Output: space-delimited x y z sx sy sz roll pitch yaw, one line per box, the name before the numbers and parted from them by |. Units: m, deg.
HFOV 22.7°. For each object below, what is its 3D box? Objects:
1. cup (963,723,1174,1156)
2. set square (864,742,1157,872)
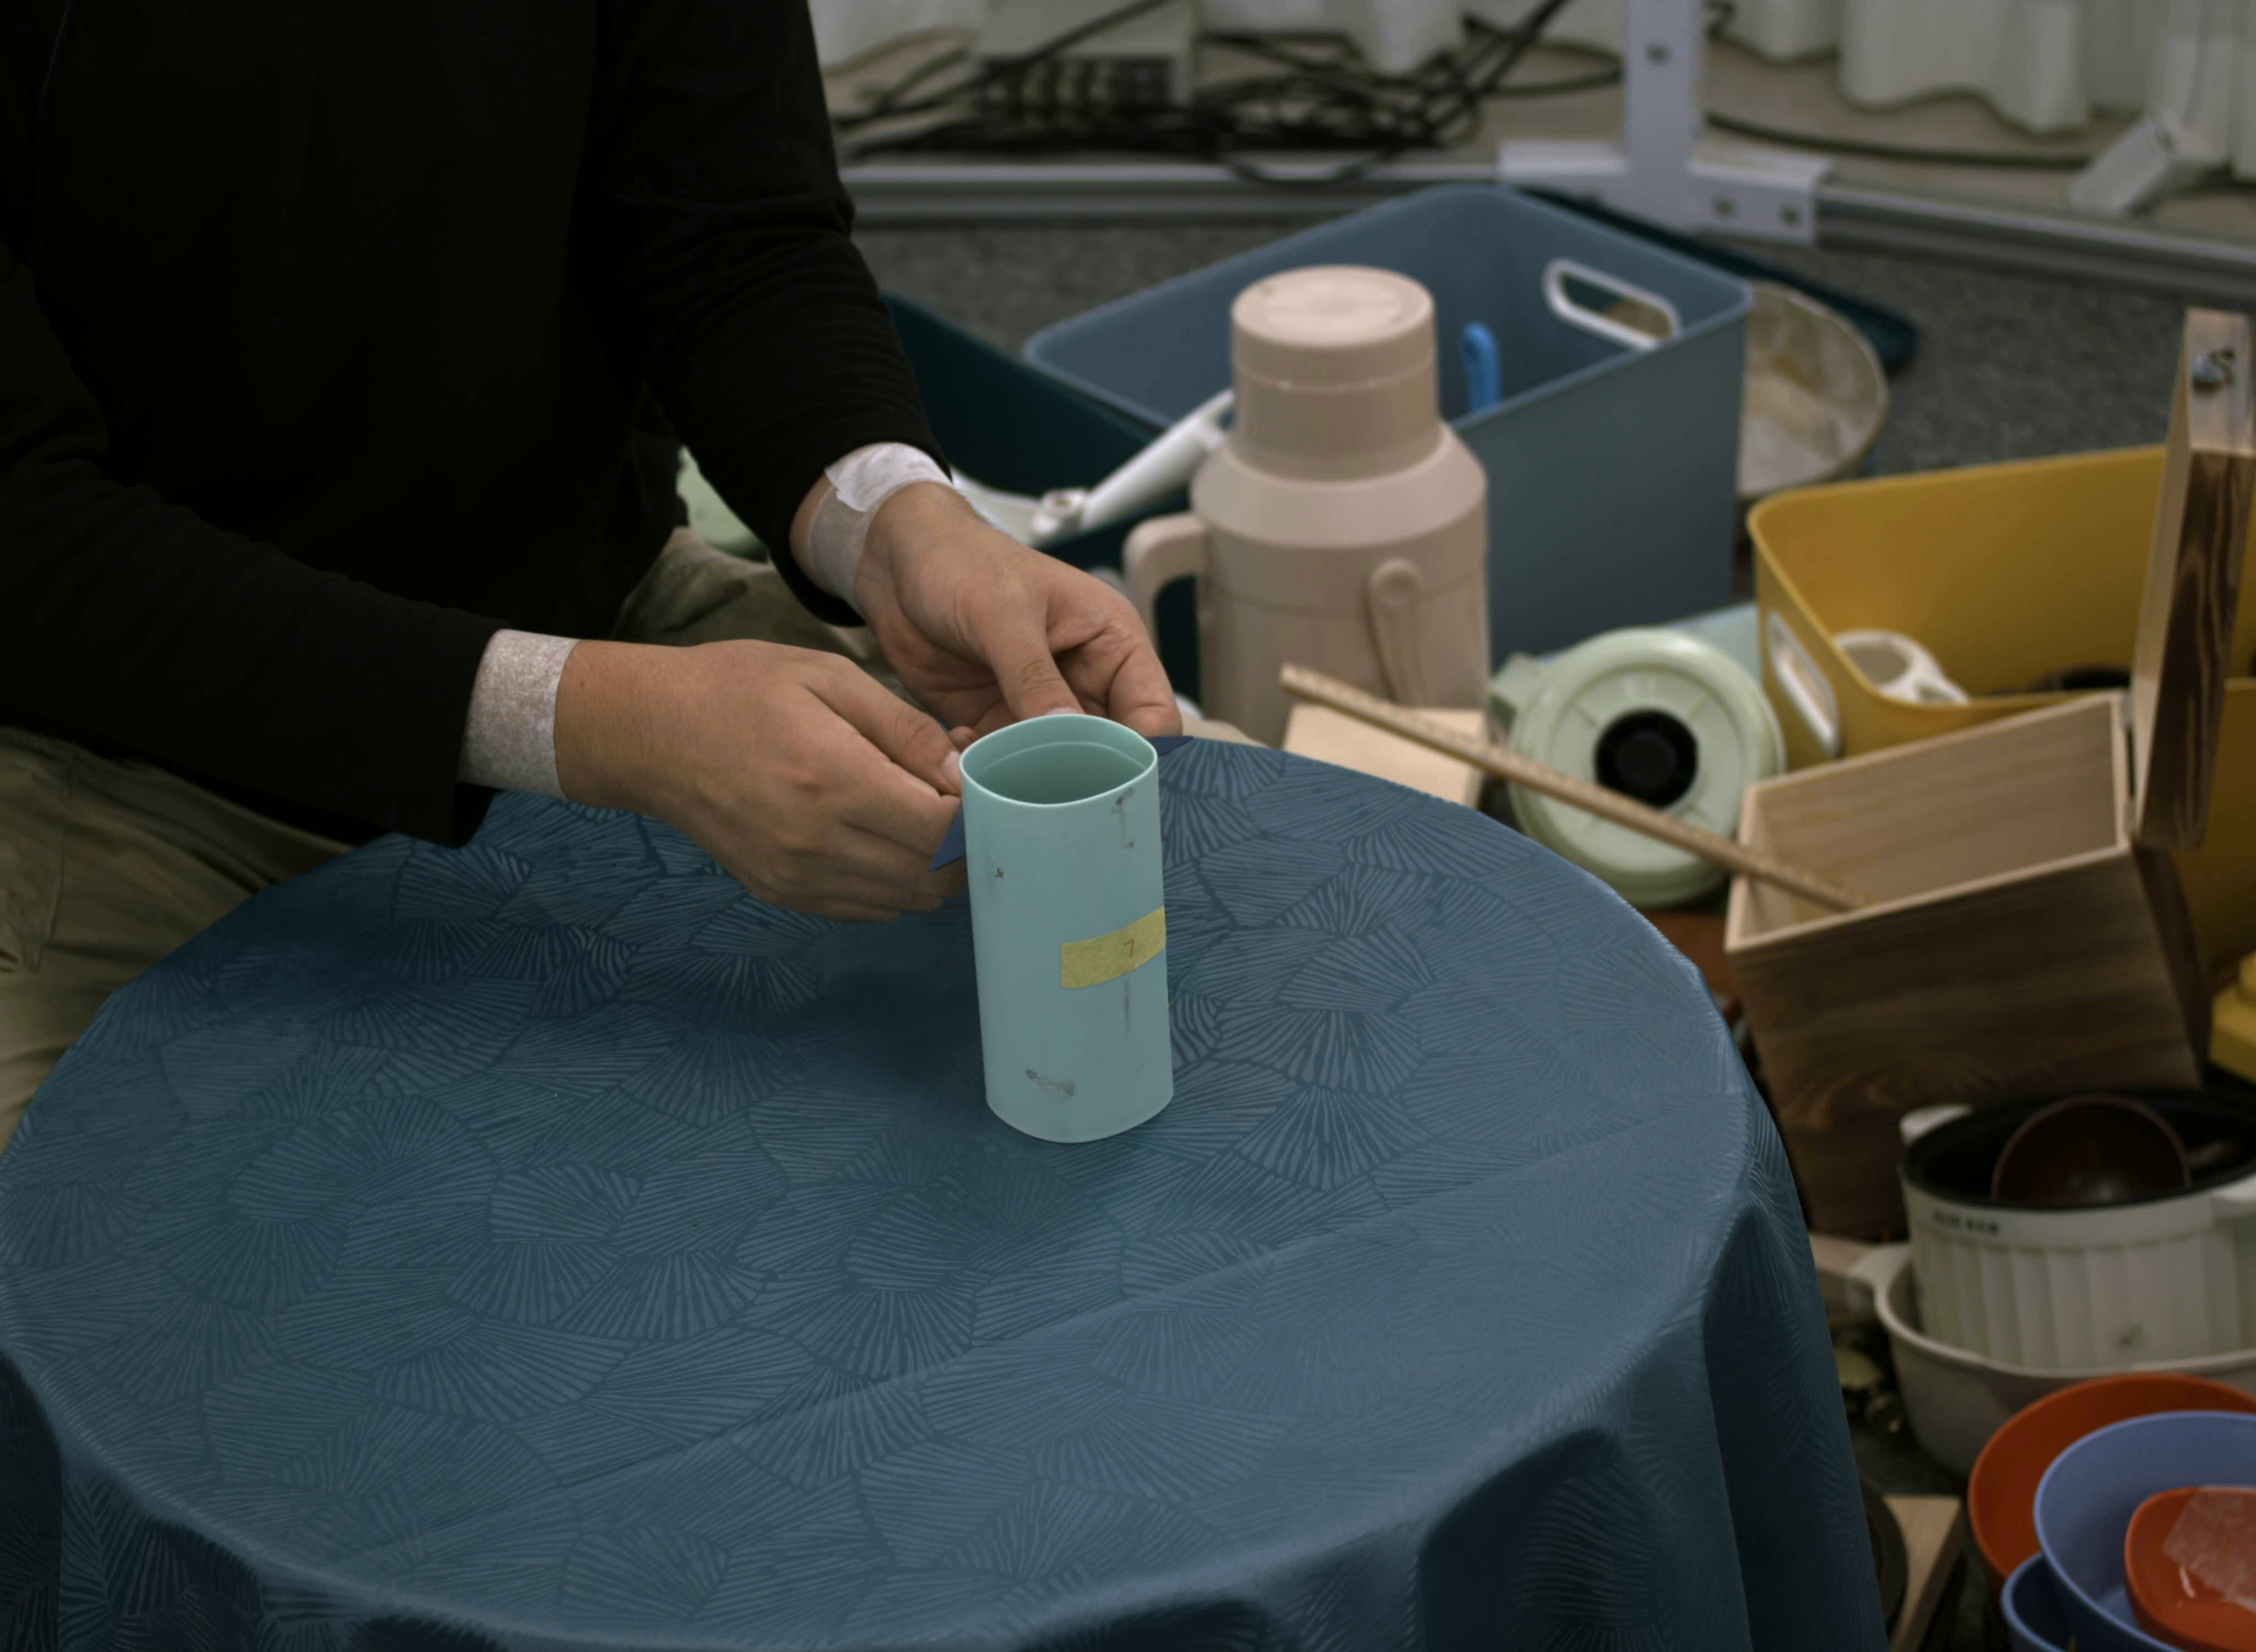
cup | -0.020 0.038 1.892 0.066 0.131 0.068 -2 27 2
set square | -0.055 -0.012 1.940 0.061 0.006 0.133 17 30 41
